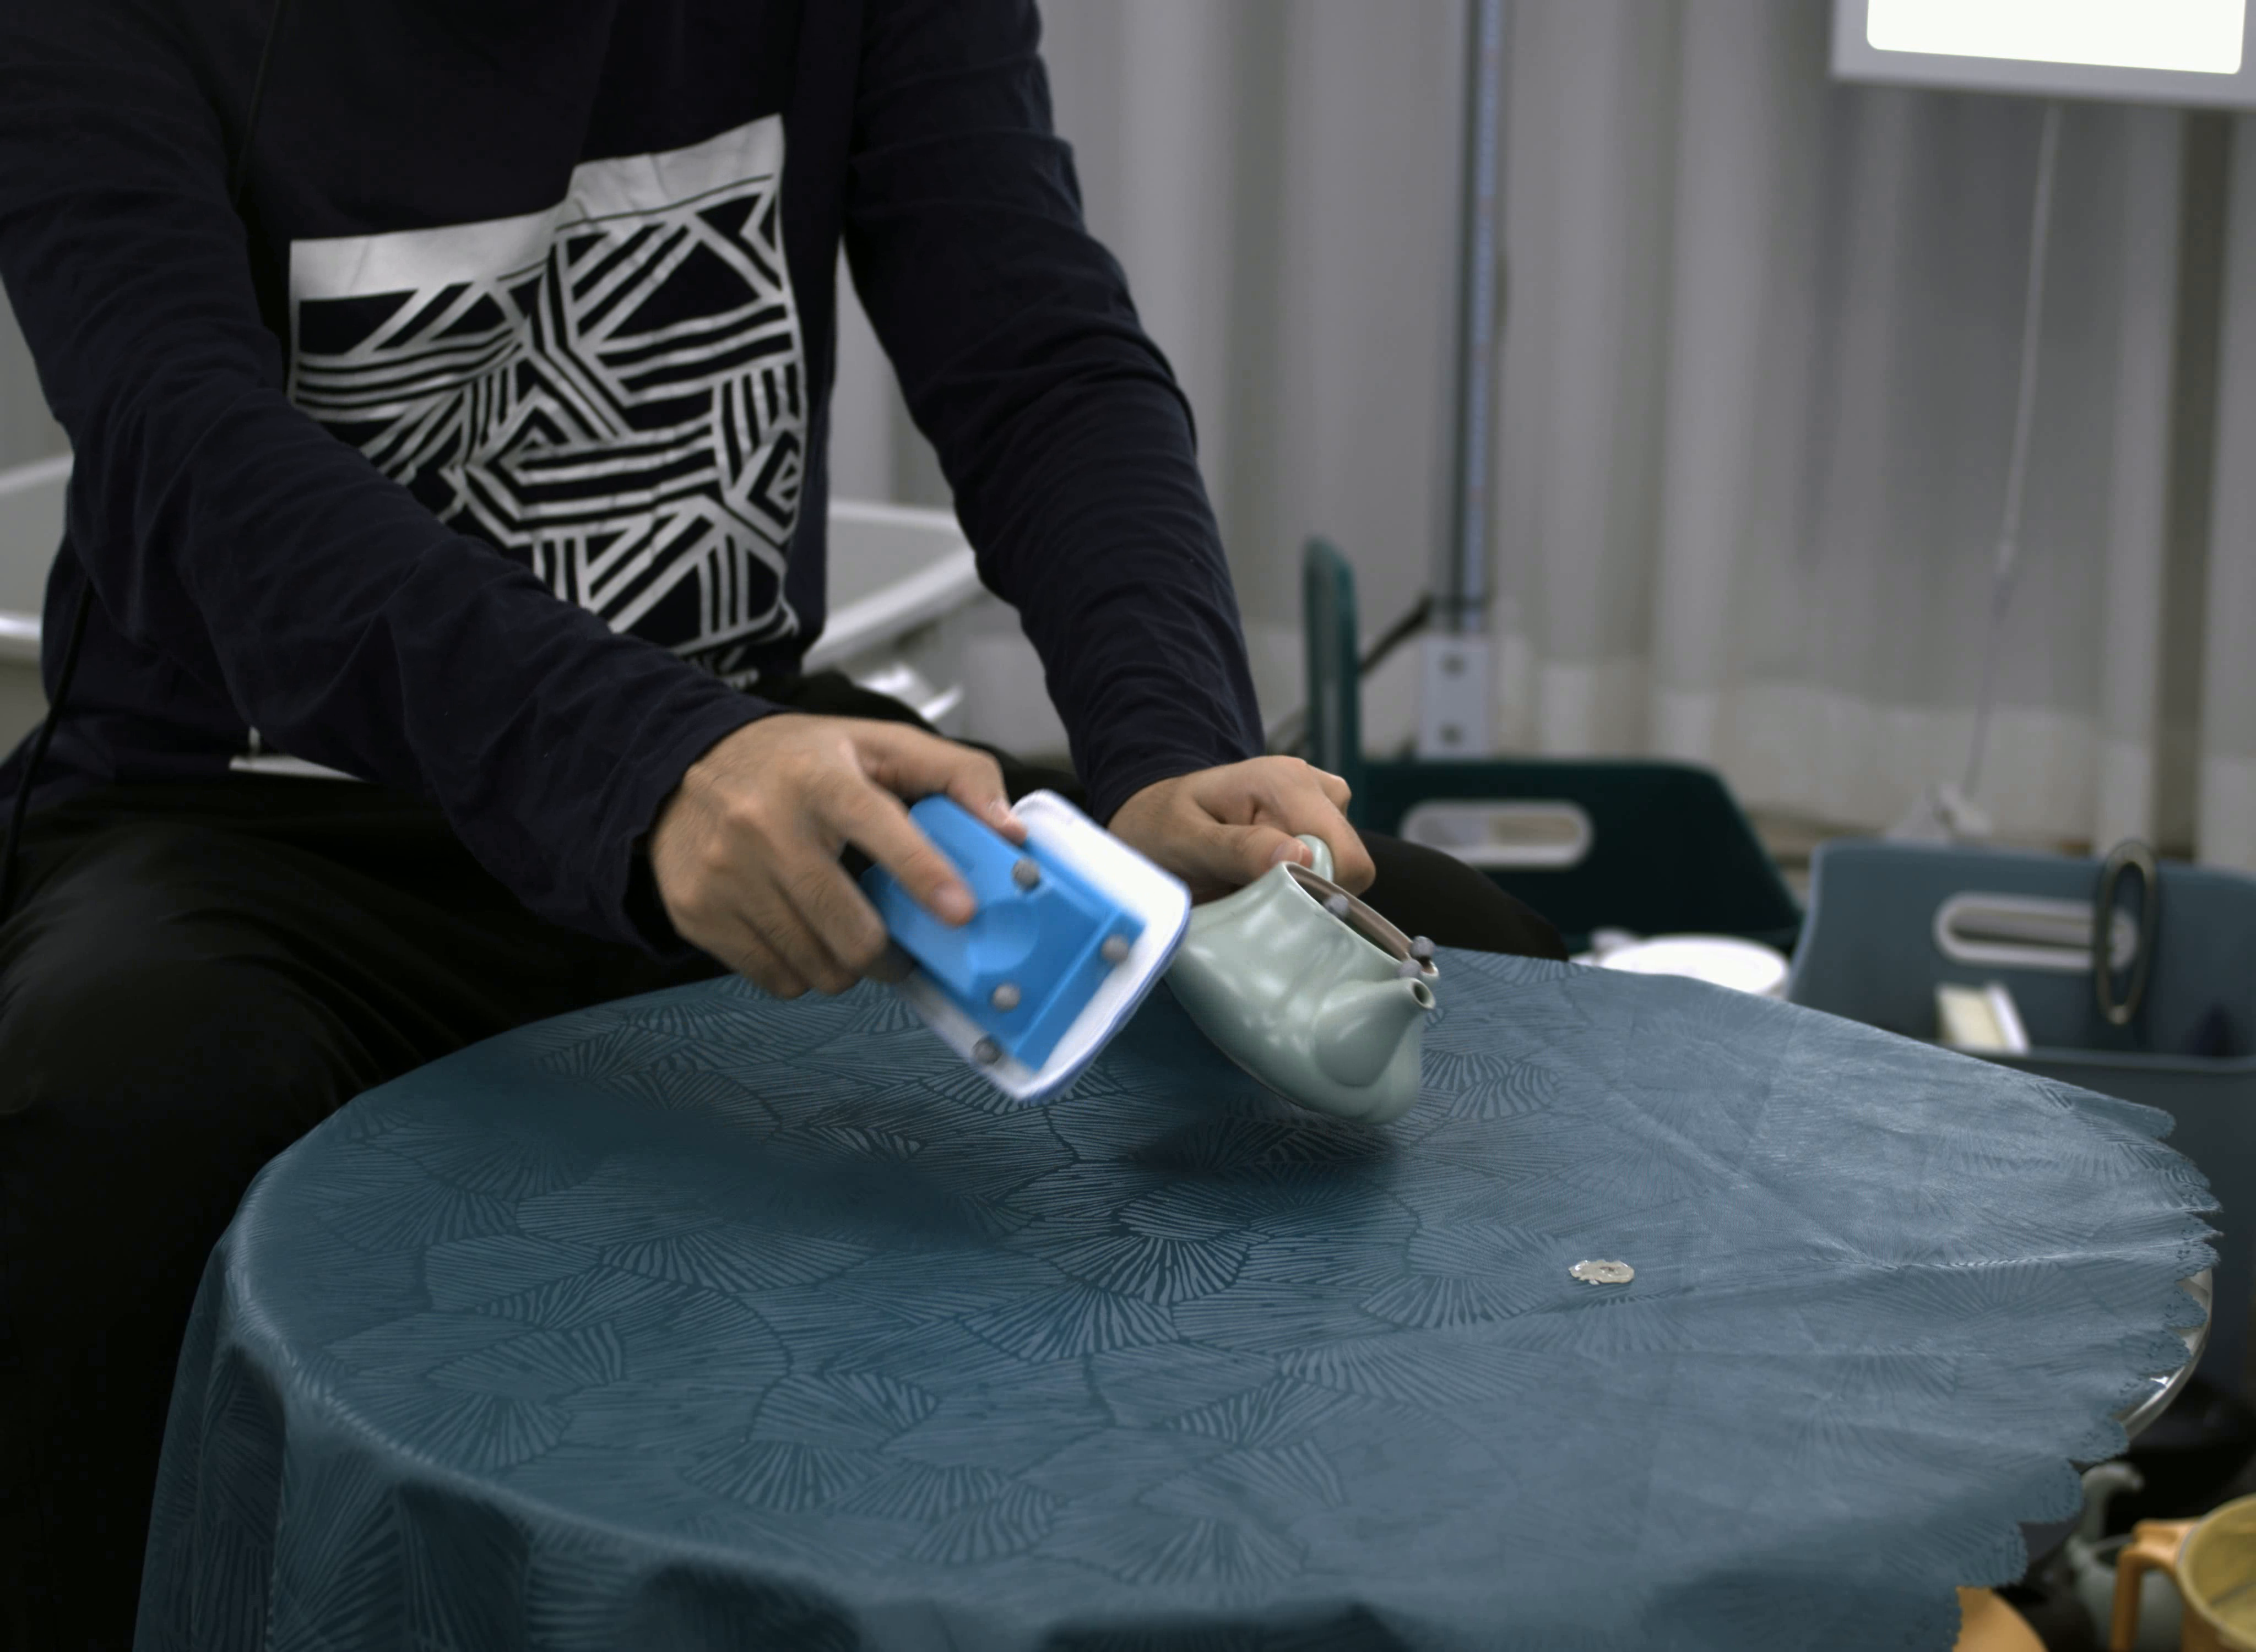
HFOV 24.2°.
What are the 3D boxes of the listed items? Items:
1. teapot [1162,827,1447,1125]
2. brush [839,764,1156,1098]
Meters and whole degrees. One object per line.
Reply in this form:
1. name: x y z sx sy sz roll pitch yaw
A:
1. teapot: 0.059 0.049 1.663 0.097 0.061 0.135 29 14 -27
2. brush: -0.049 0.026 1.605 0.056 0.084 0.142 42 0 -29
